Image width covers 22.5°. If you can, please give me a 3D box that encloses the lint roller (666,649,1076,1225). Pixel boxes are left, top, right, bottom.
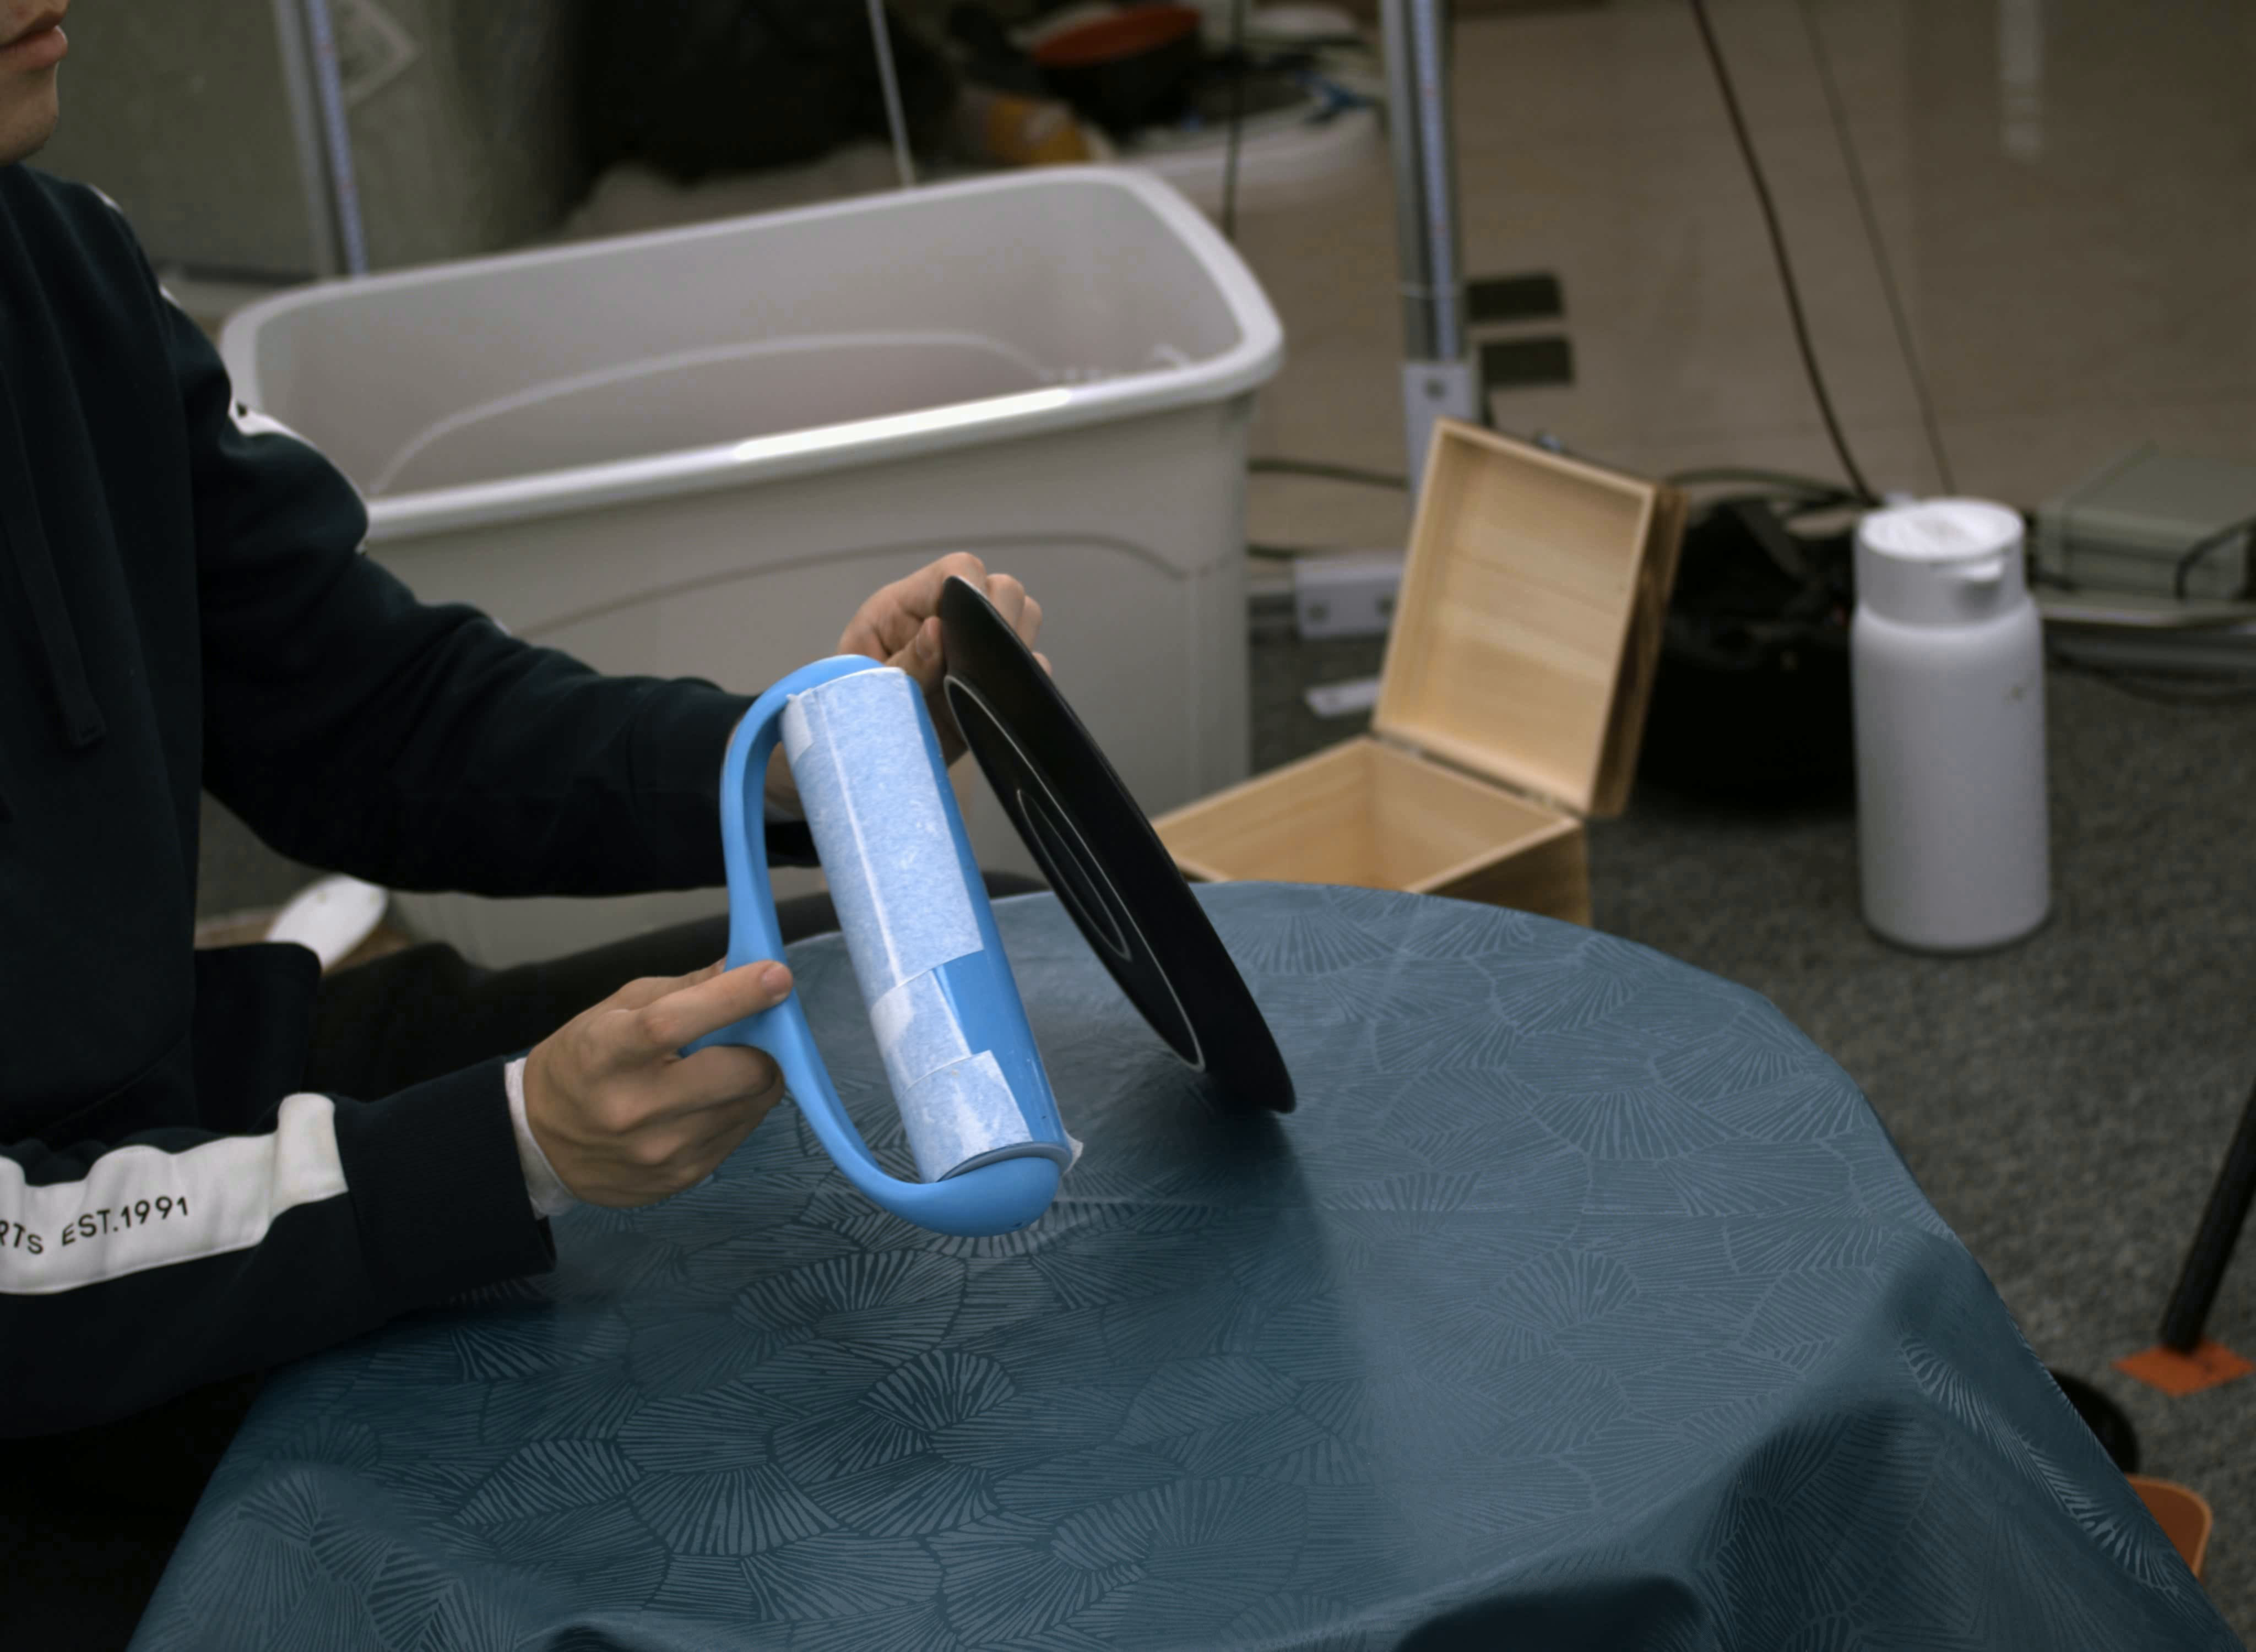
[{"bbox_3d":[-0.116,0.068,2.038,0.182,0.226,0.068,-36,-27,28],"label":"lint roller"}]

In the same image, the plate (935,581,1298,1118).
[{"bbox_3d":[-0.011,0.014,2.152,0.023,0.248,0.241,-34,30,-7],"label":"plate"}]
